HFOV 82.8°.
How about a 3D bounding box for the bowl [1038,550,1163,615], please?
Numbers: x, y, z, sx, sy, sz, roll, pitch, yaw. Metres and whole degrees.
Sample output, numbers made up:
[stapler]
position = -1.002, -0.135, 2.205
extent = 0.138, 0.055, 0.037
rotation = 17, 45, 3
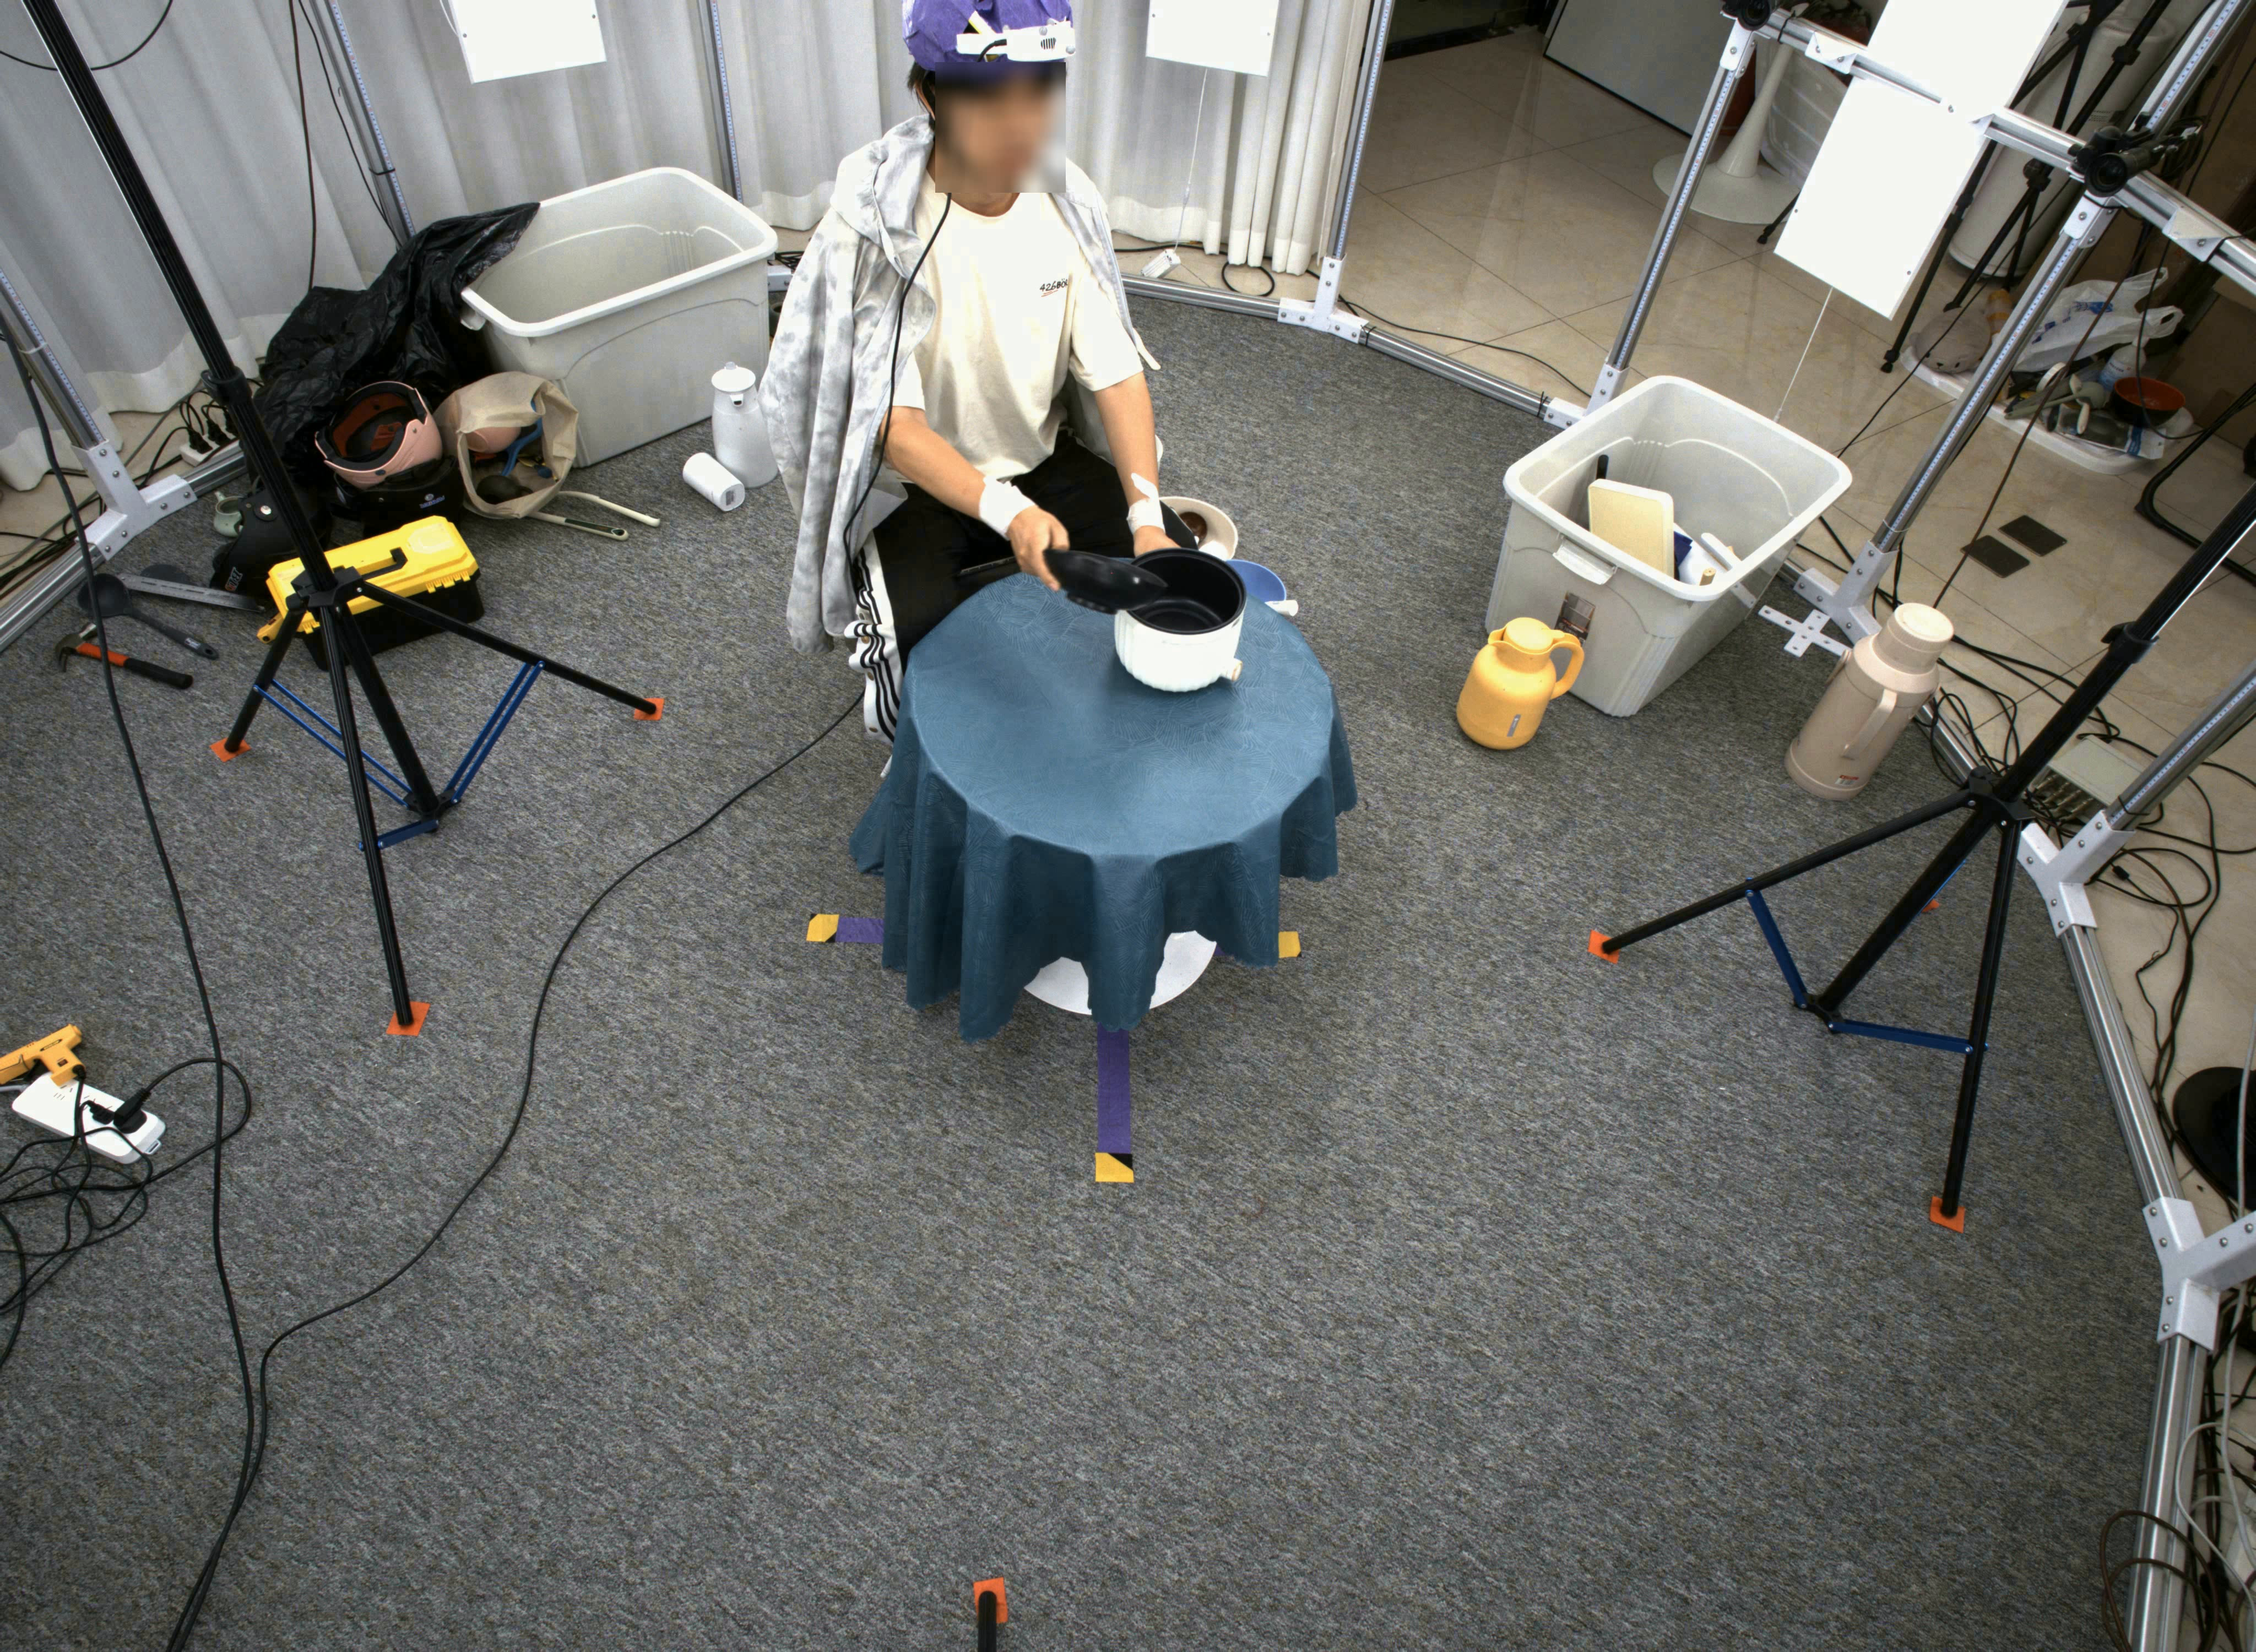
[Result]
[bowl]
position = -0.043, -0.314, 1.666
extent = 0.171, 0.066, 0.138
rotation = 20, 14, 13

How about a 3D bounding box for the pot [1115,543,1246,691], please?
[pot]
position = 0.076, -0.286, 1.825
extent = 0.192, 0.139, 0.244
rotation = 21, 51, 18
